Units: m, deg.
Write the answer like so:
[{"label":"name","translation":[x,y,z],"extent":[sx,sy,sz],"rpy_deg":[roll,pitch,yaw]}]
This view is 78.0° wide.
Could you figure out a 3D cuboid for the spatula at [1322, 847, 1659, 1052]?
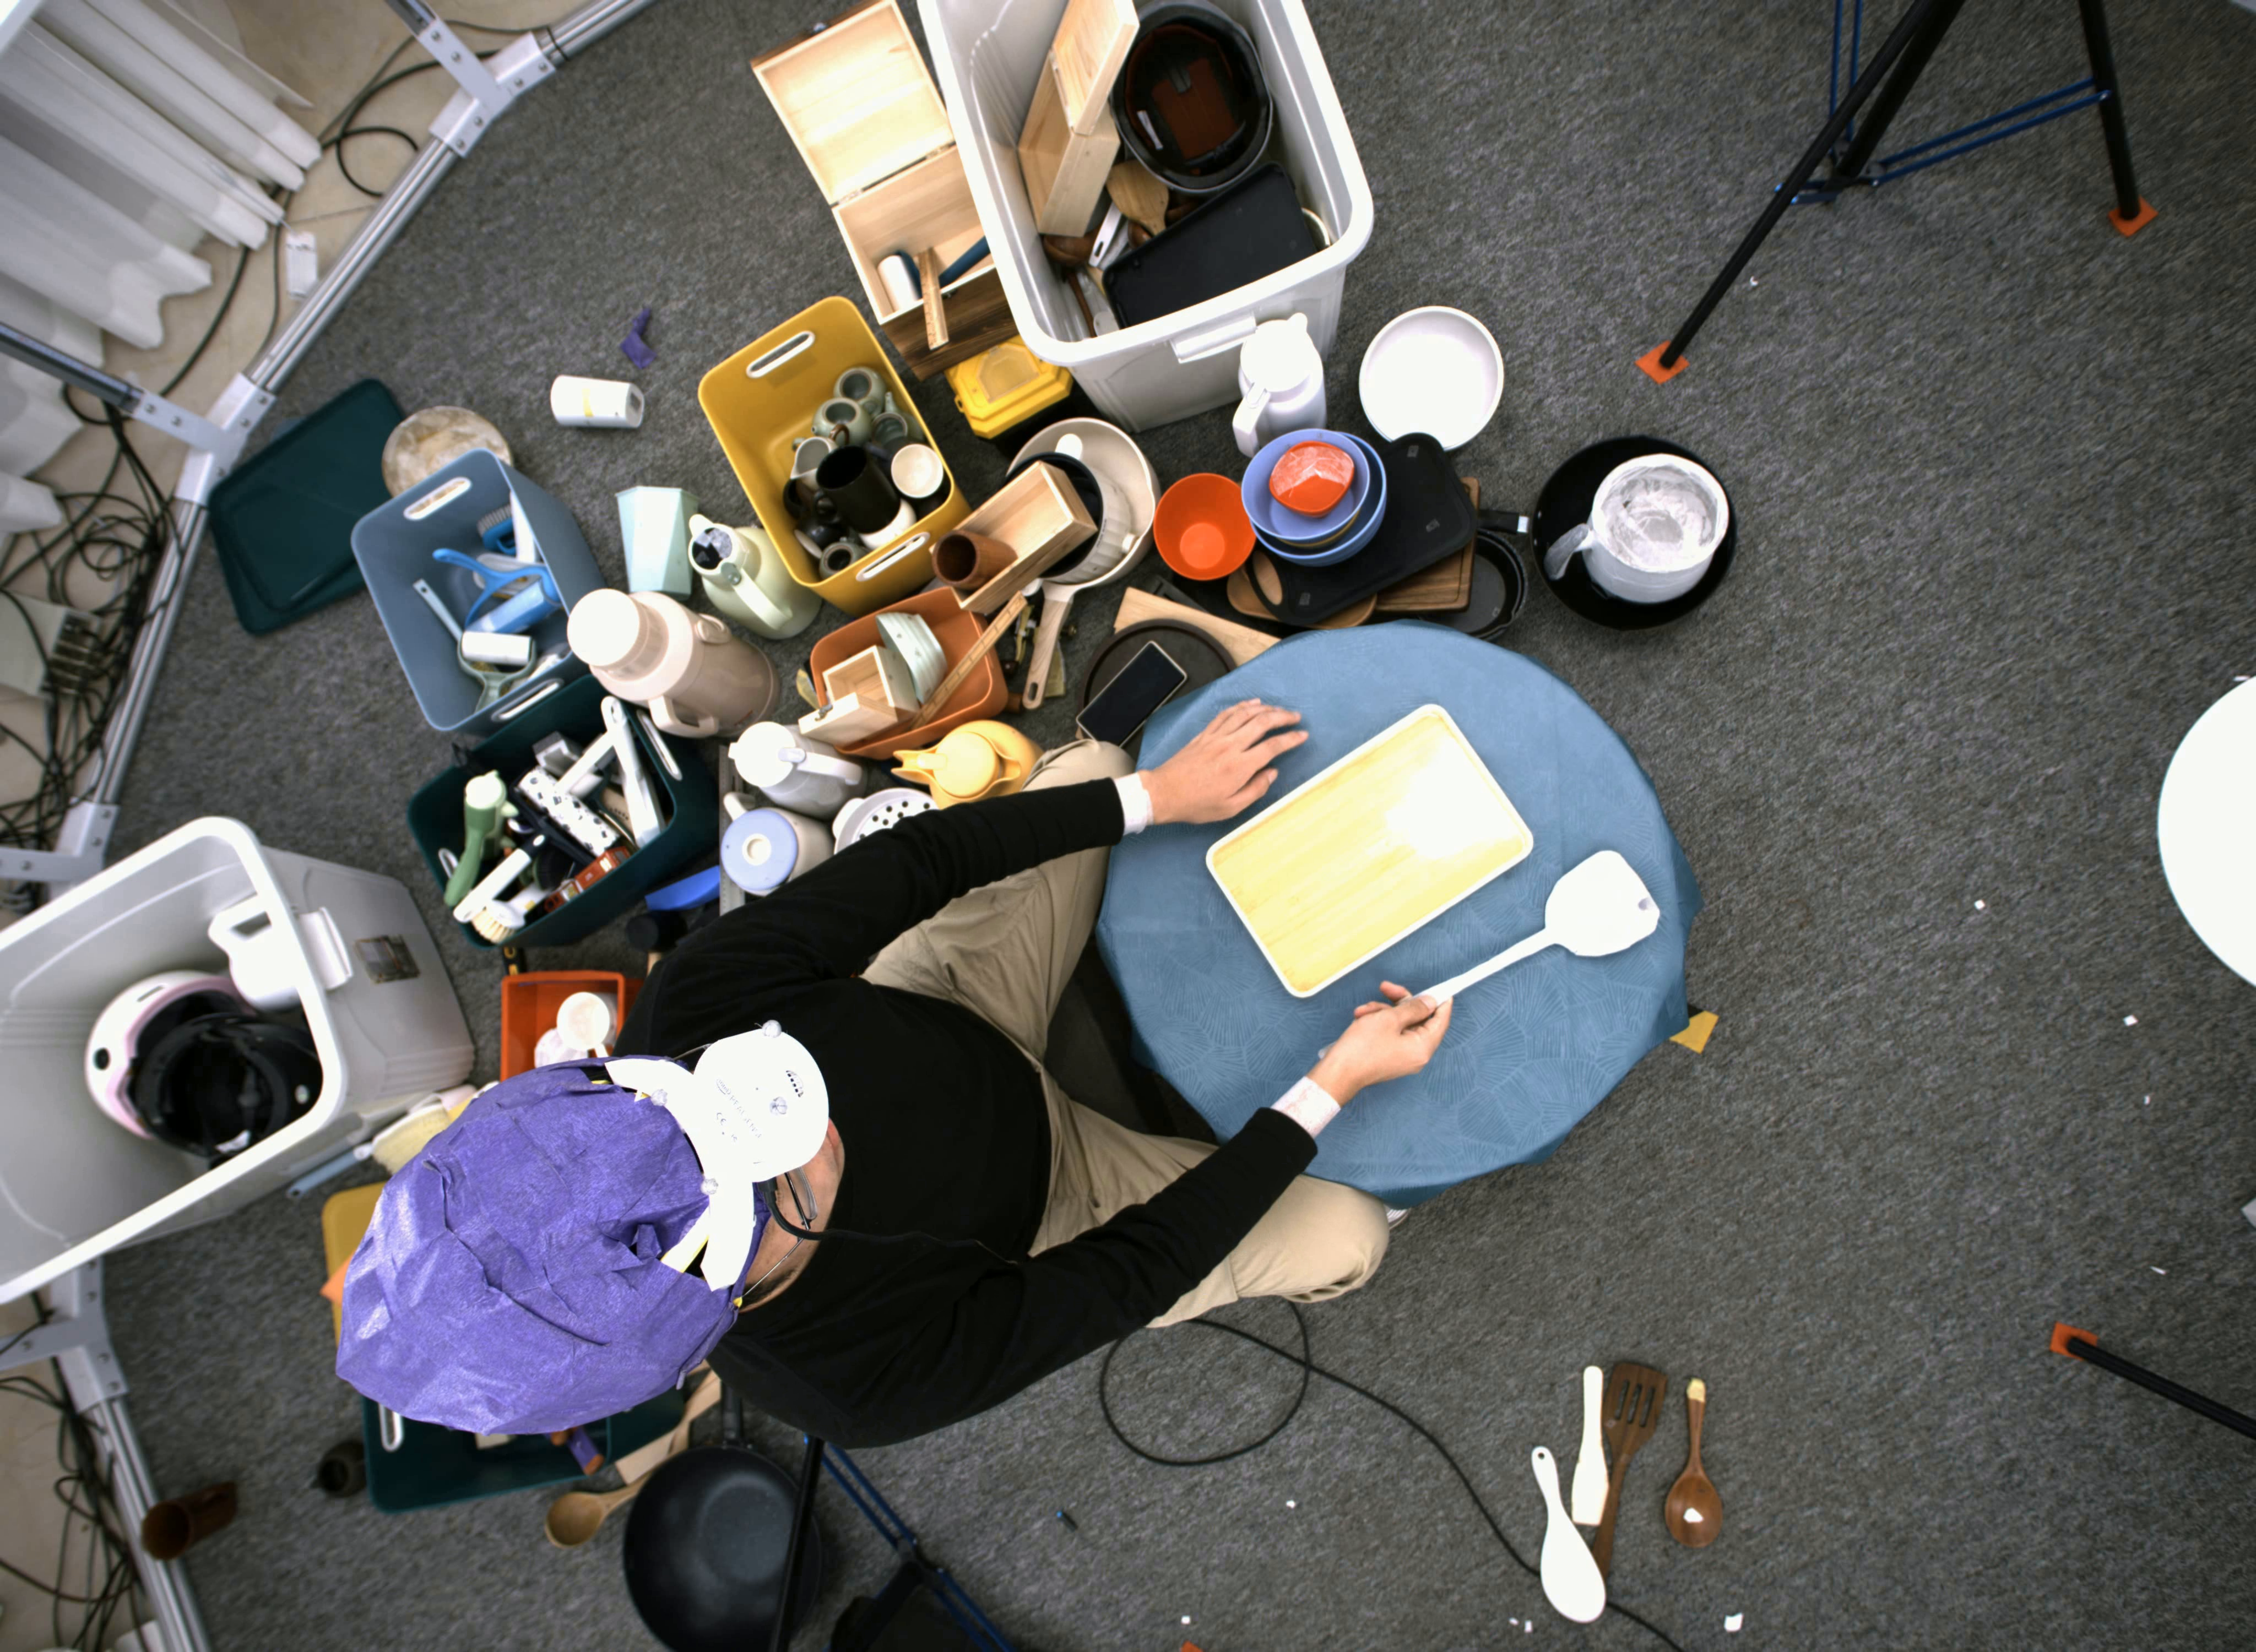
[{"label":"spatula","translation":[0.362,0.140,1.397],"extent":[0.365,0.045,0.097],"rpy_deg":[-28,74,-1]}]

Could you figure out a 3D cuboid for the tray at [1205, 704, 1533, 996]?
[{"label":"tray","translation":[0.251,0.025,1.453],"extent":[0.302,0.027,0.190],"rpy_deg":[-33,82,7]}]
